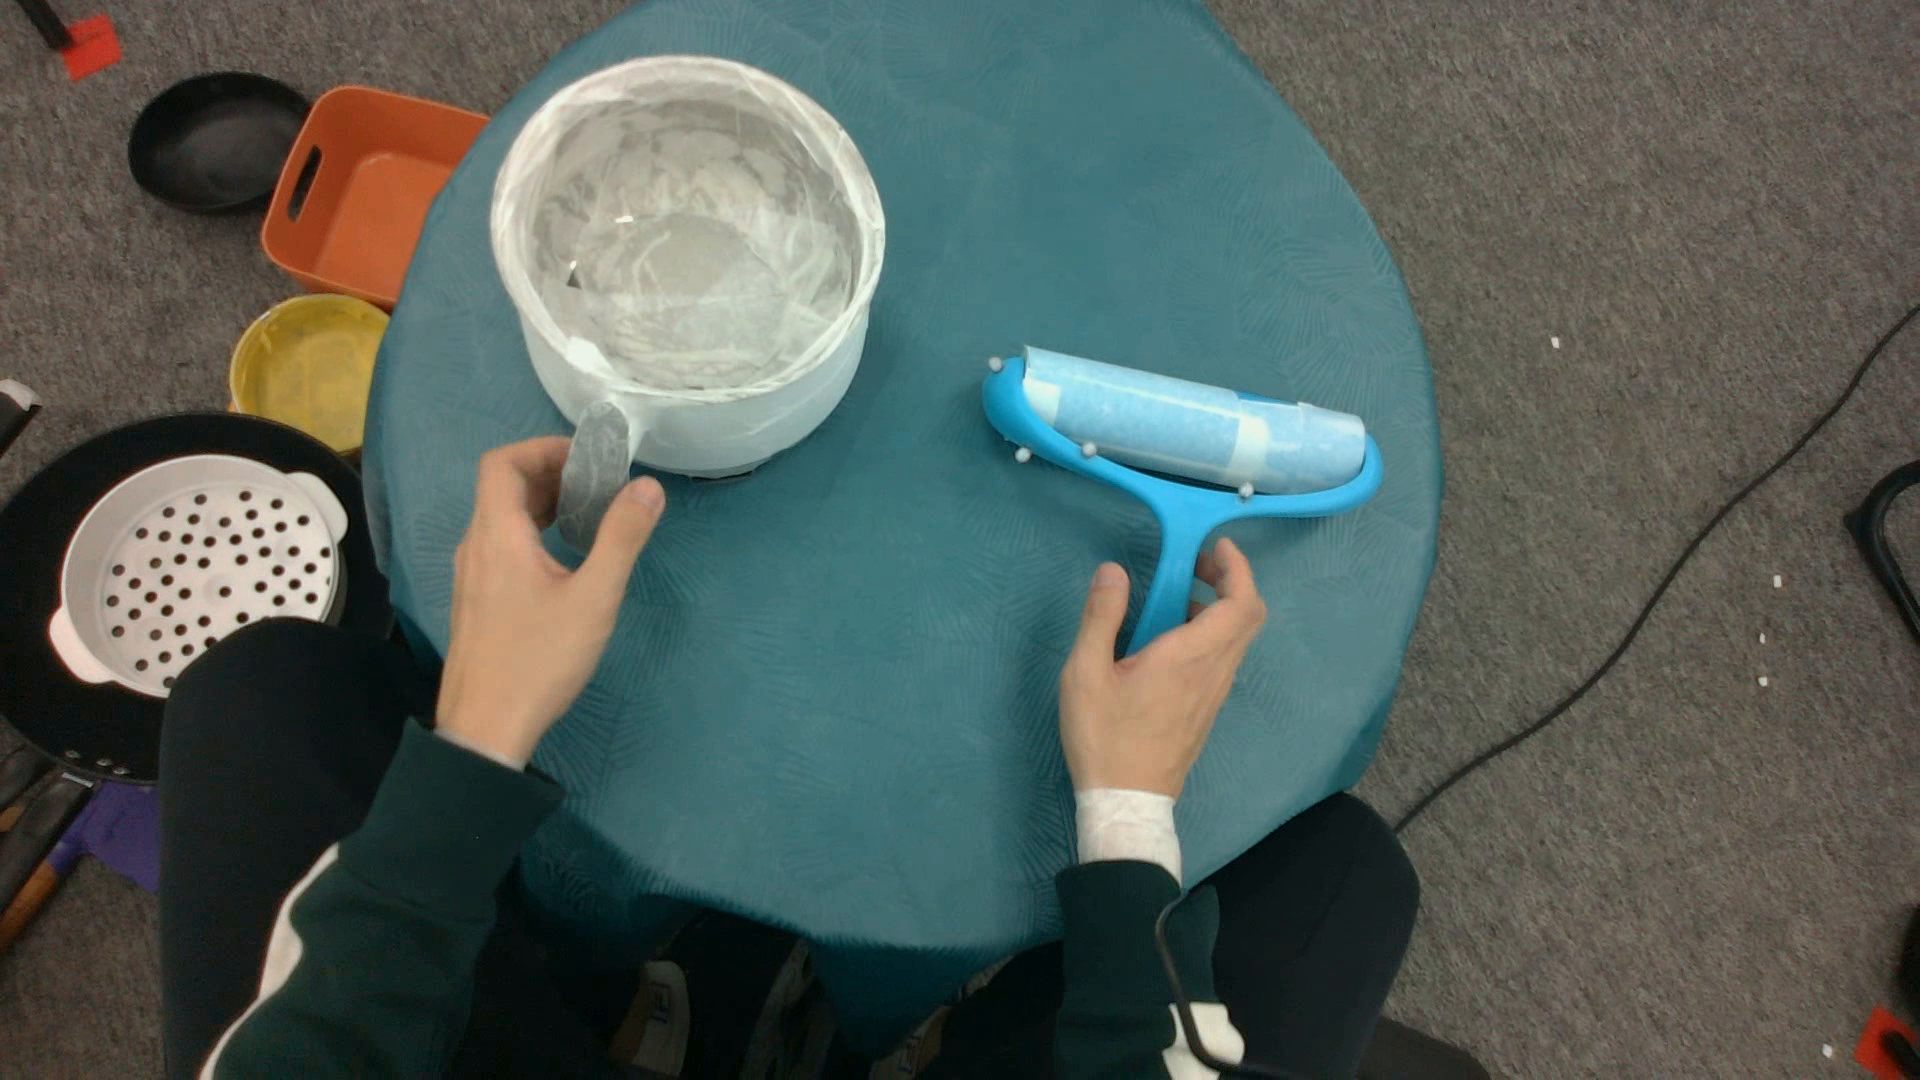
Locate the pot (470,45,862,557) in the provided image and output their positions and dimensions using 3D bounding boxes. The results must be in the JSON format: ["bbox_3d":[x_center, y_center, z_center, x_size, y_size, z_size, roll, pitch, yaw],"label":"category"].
[{"bbox_3d":[-0.152,-0.109,0.685,0.179,0.136,0.234,19,71,-5],"label":"pot"}]

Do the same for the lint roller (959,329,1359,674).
[{"bbox_3d":[0.109,-0.020,0.753,0.229,0.067,0.180,6,73,-10],"label":"lint roller"}]
